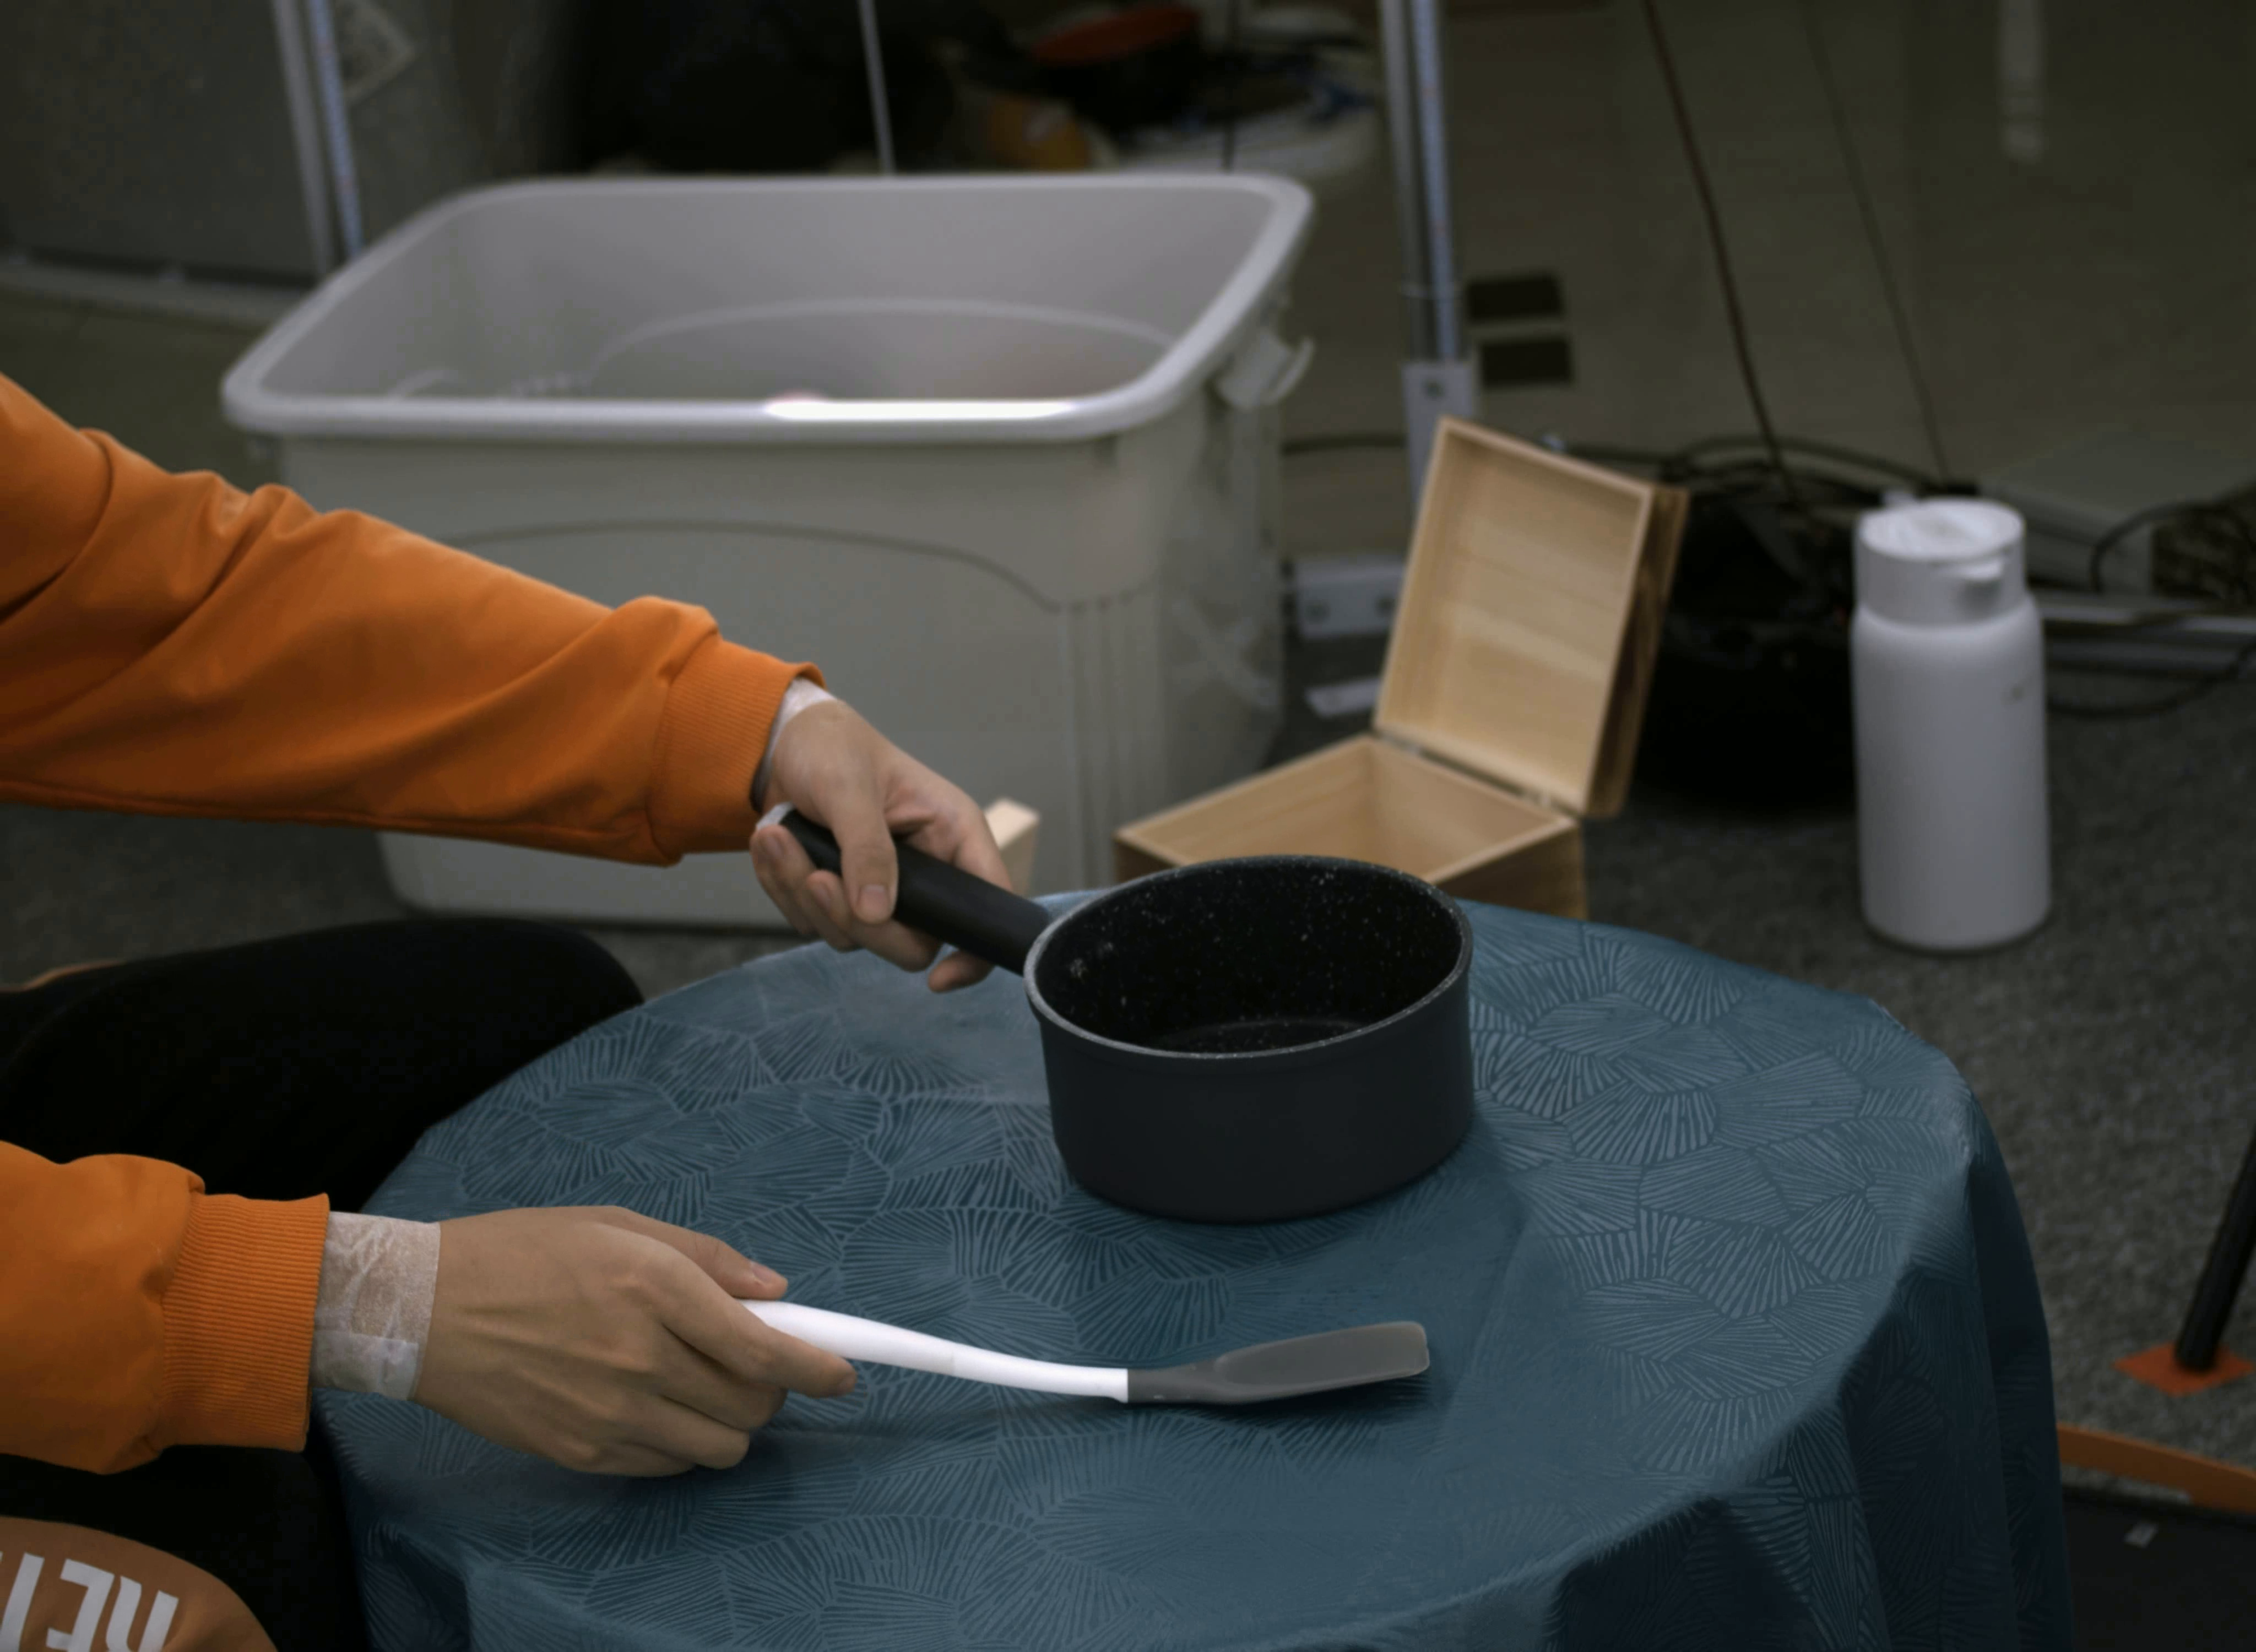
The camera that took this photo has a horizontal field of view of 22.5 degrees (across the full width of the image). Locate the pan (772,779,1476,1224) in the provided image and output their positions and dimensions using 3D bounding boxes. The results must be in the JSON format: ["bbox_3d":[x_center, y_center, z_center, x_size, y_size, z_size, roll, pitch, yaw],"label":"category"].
[{"bbox_3d":[-0.011,0.061,2.212,0.326,0.088,0.170,18,34,37],"label":"pan"}]

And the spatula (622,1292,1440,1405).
[{"bbox_3d":[-0.034,0.186,2.000,0.287,0.032,0.058,2,12,-1],"label":"spatula"}]
